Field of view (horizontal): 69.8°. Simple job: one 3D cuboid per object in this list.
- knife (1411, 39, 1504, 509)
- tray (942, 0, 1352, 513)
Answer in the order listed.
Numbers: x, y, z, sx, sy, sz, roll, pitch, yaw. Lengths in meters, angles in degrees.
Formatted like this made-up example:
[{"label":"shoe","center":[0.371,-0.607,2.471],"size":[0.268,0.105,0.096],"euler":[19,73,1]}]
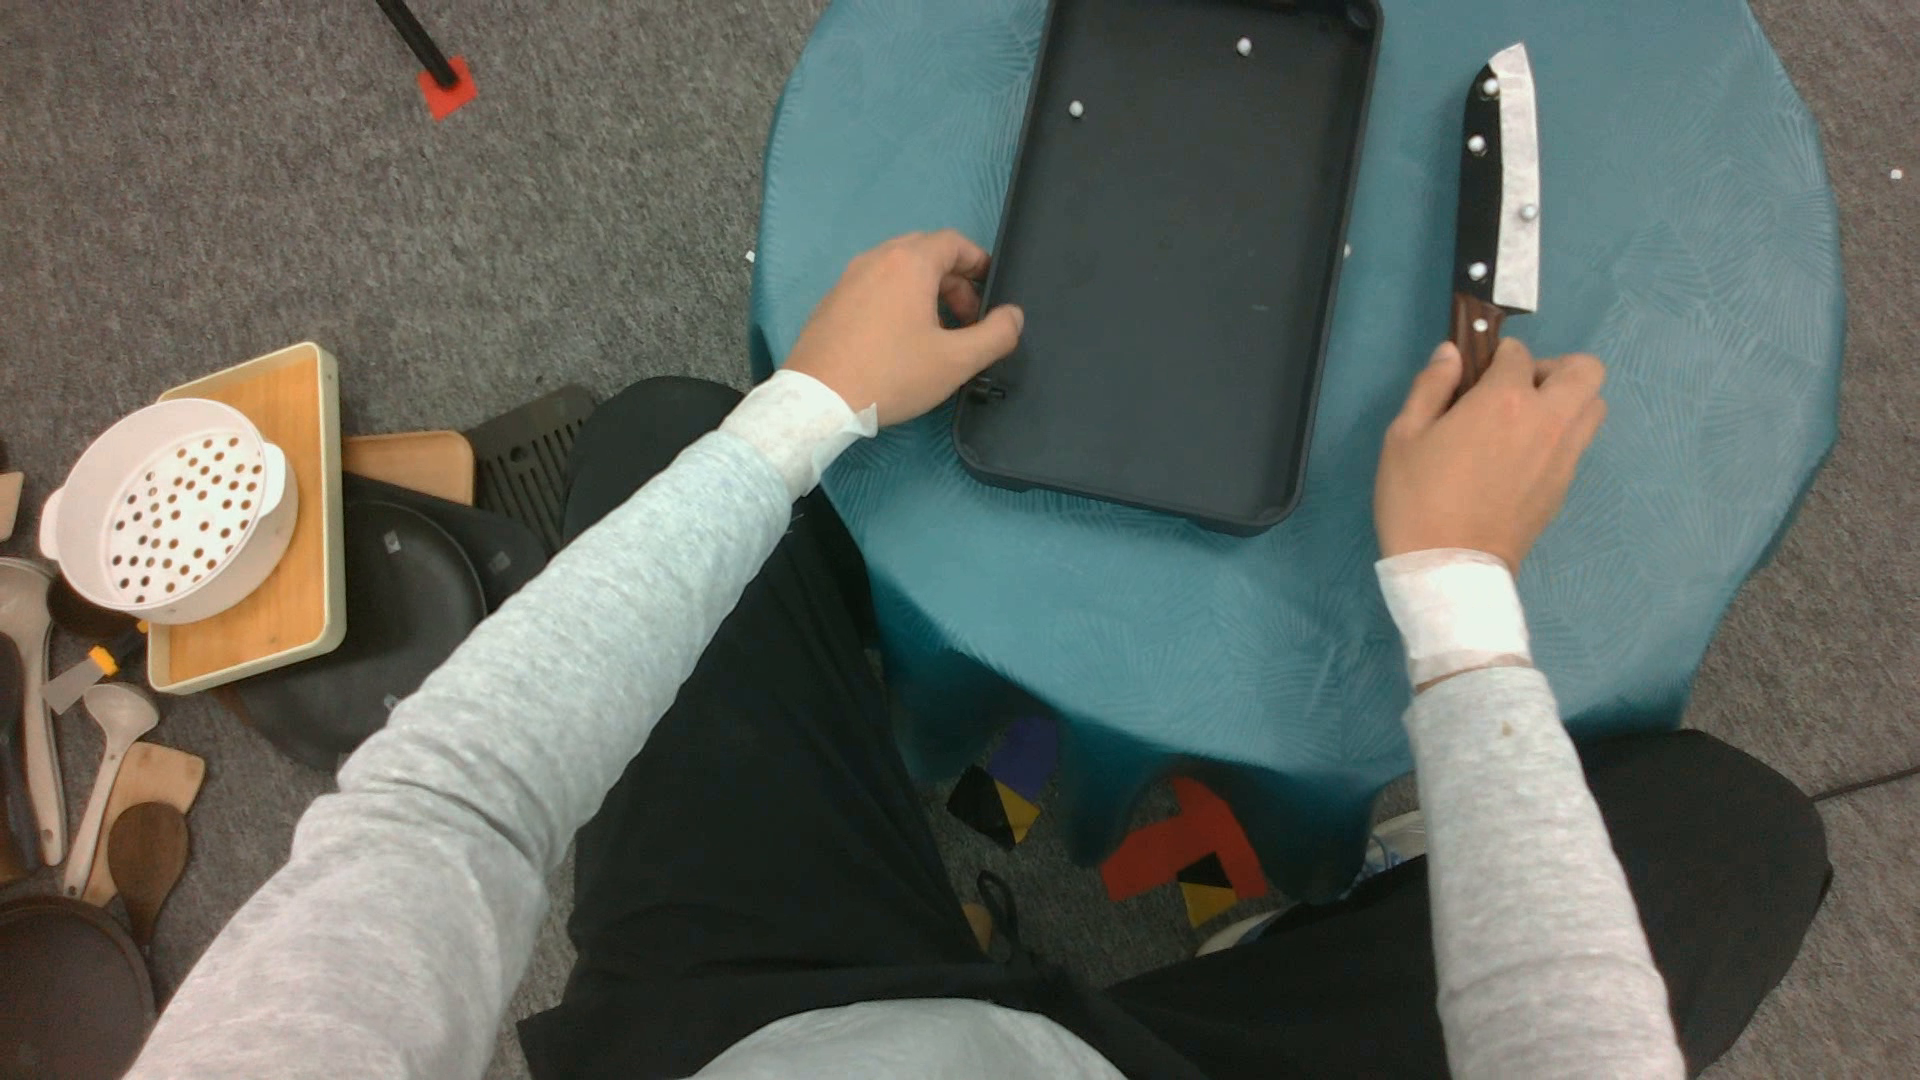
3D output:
[{"label":"knife","center":[0.267,-0.150,0.736],"size":[0.050,0.020,0.290],"euler":[12,72,-3]},{"label":"tray","center":[0.104,-0.179,0.752],"size":[0.184,0.037,0.318],"euler":[9,77,3]}]
